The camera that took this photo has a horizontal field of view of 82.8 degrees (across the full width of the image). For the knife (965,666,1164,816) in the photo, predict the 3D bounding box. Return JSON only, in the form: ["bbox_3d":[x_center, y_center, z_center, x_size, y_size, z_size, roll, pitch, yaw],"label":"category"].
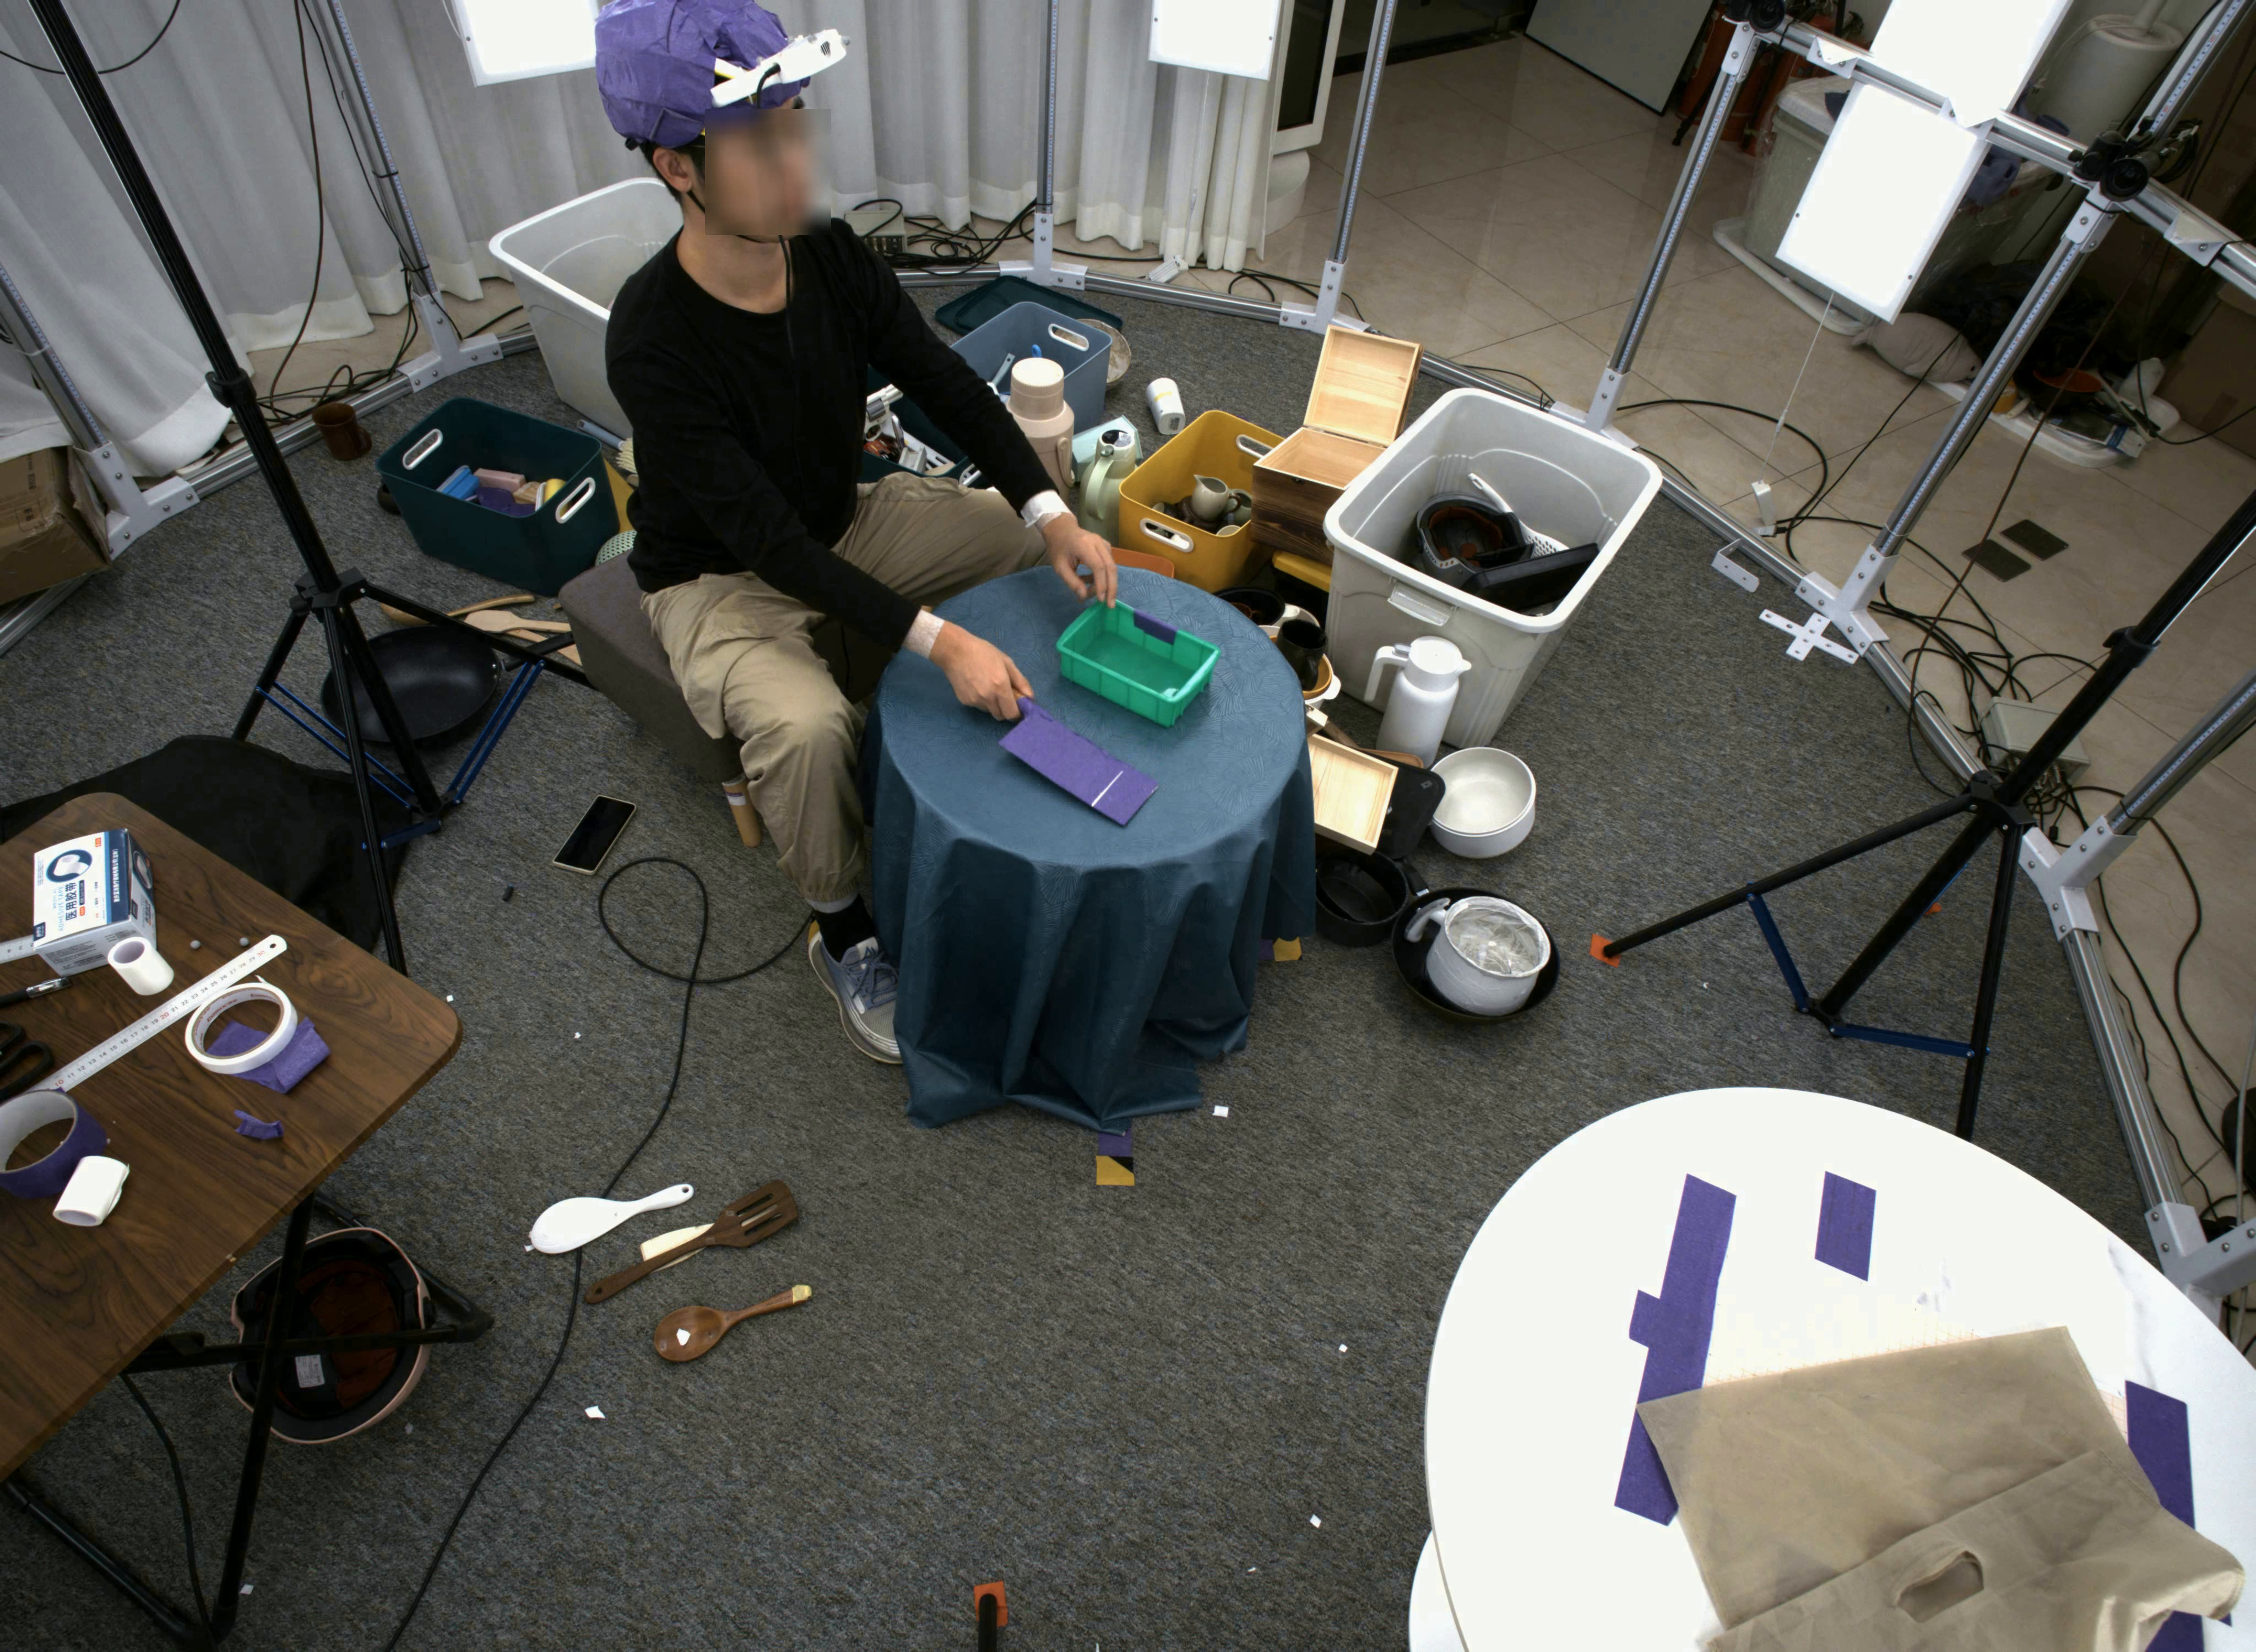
[{"bbox_3d":[-0.105,-0.116,1.727,0.318,0.031,0.105,31,50,17],"label":"knife"}]

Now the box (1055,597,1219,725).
[{"bbox_3d":[0.011,-0.234,1.833,0.212,0.064,0.141,26,51,19],"label":"box"}]
